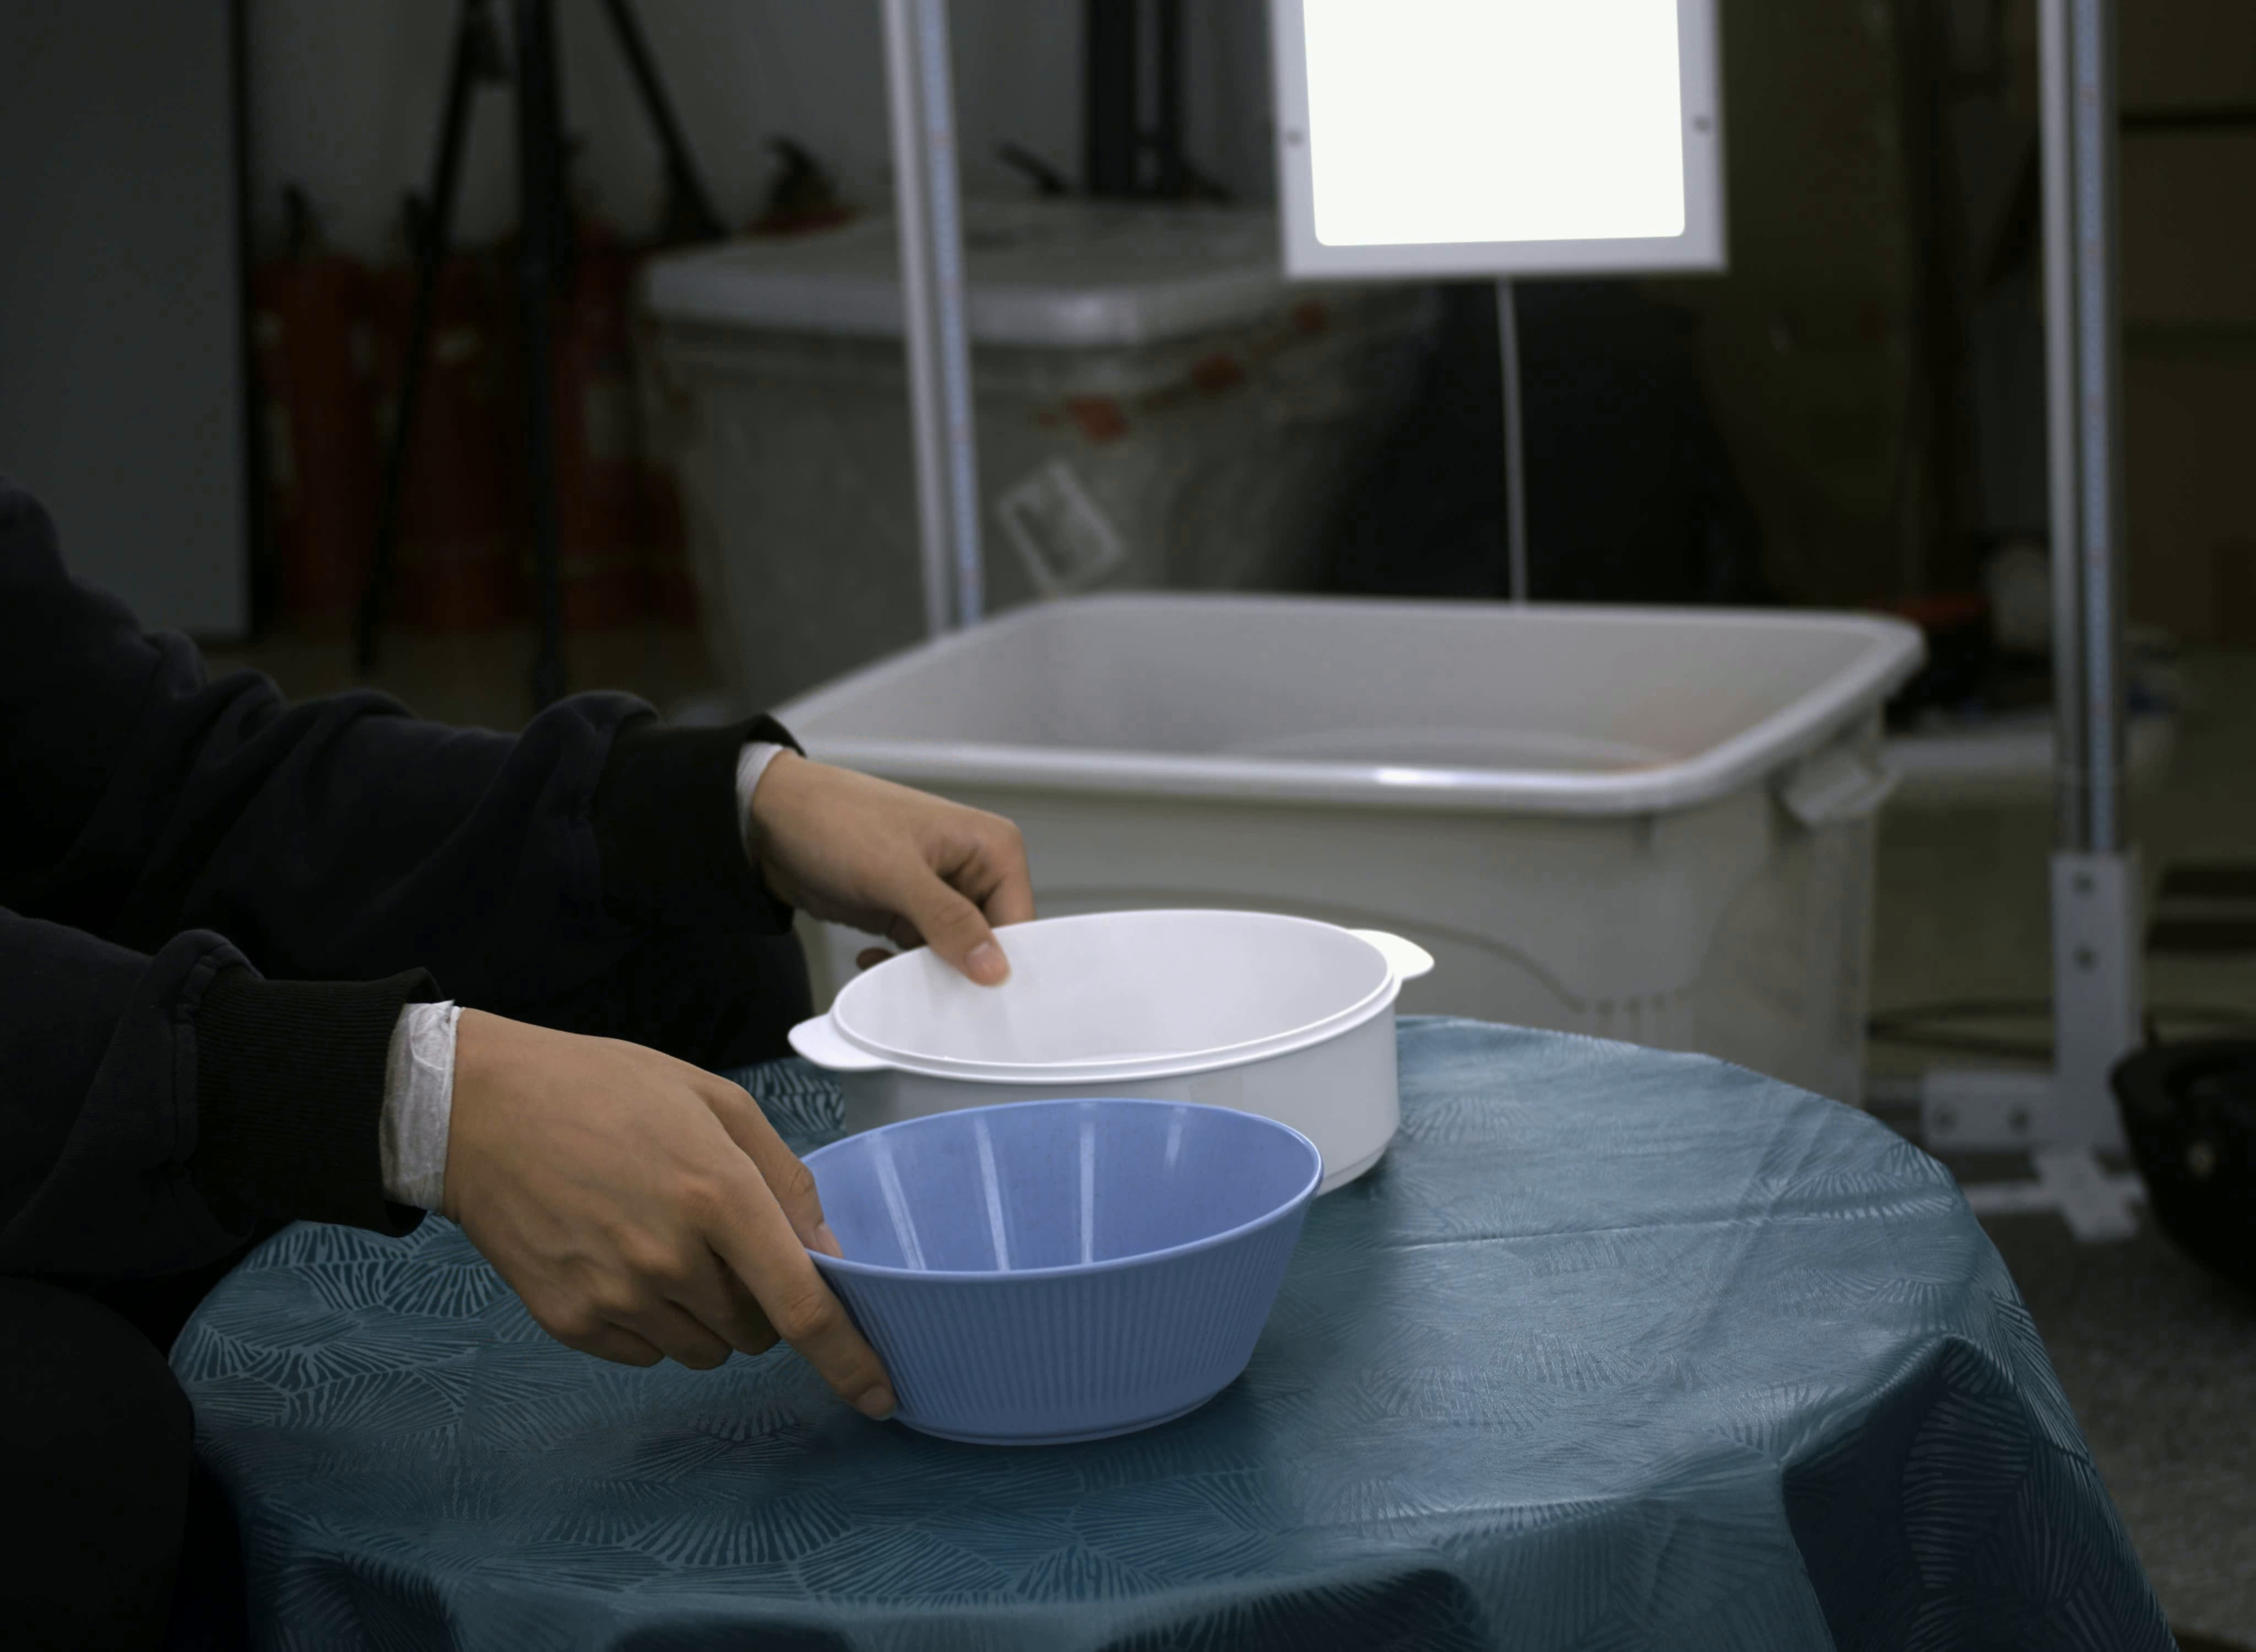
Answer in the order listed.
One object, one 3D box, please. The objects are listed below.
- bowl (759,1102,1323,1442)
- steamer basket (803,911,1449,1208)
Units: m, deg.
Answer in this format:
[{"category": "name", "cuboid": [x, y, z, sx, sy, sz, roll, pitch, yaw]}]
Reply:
[{"category": "bowl", "cuboid": [-0.024, 0.140, 1.701, 0.175, 0.070, 0.176, -5, 13, 0]}, {"category": "steamer basket", "cuboid": [0.002, 0.085, 1.921, 0.227, 0.069, 0.204, -7, 14, -17]}]
